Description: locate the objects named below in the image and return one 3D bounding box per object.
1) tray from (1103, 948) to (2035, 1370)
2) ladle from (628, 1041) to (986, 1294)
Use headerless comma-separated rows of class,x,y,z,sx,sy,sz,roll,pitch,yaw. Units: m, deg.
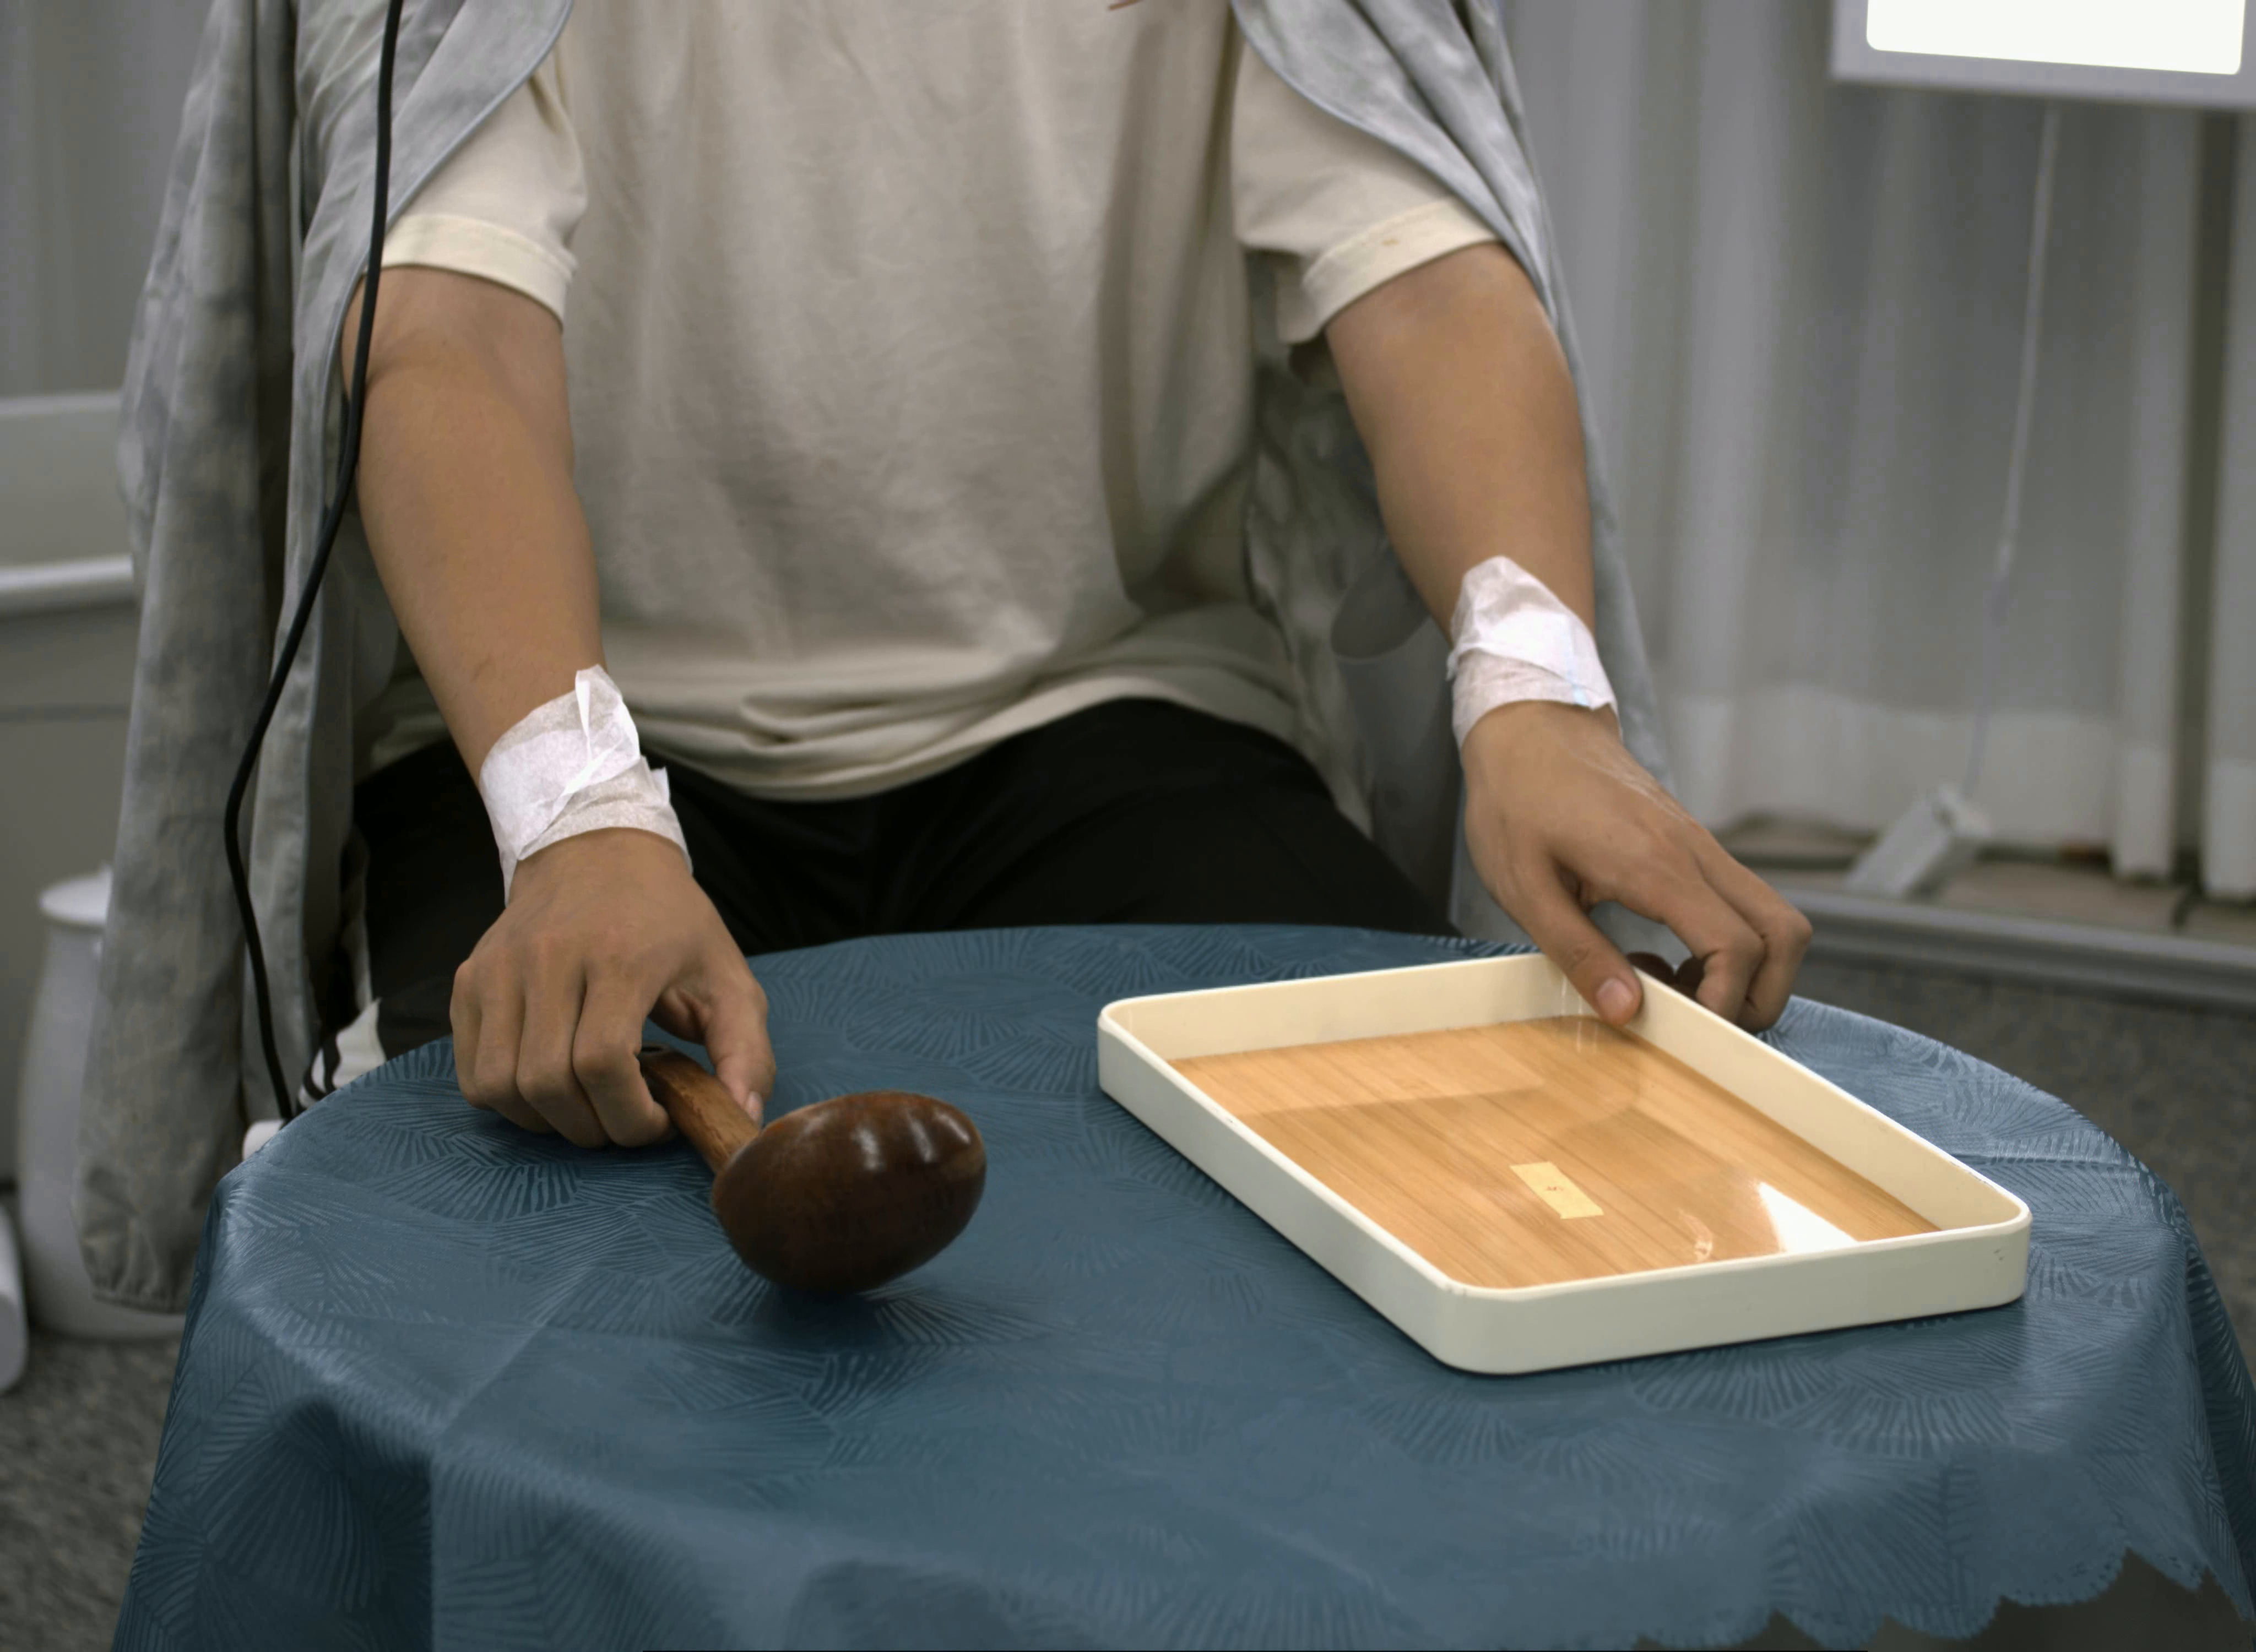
tray,0.128,0.098,1.631,0.192,0.027,0.297,-6,17,-21
ladle,-0.113,0.078,1.599,0.082,0.077,0.271,2,14,-19
